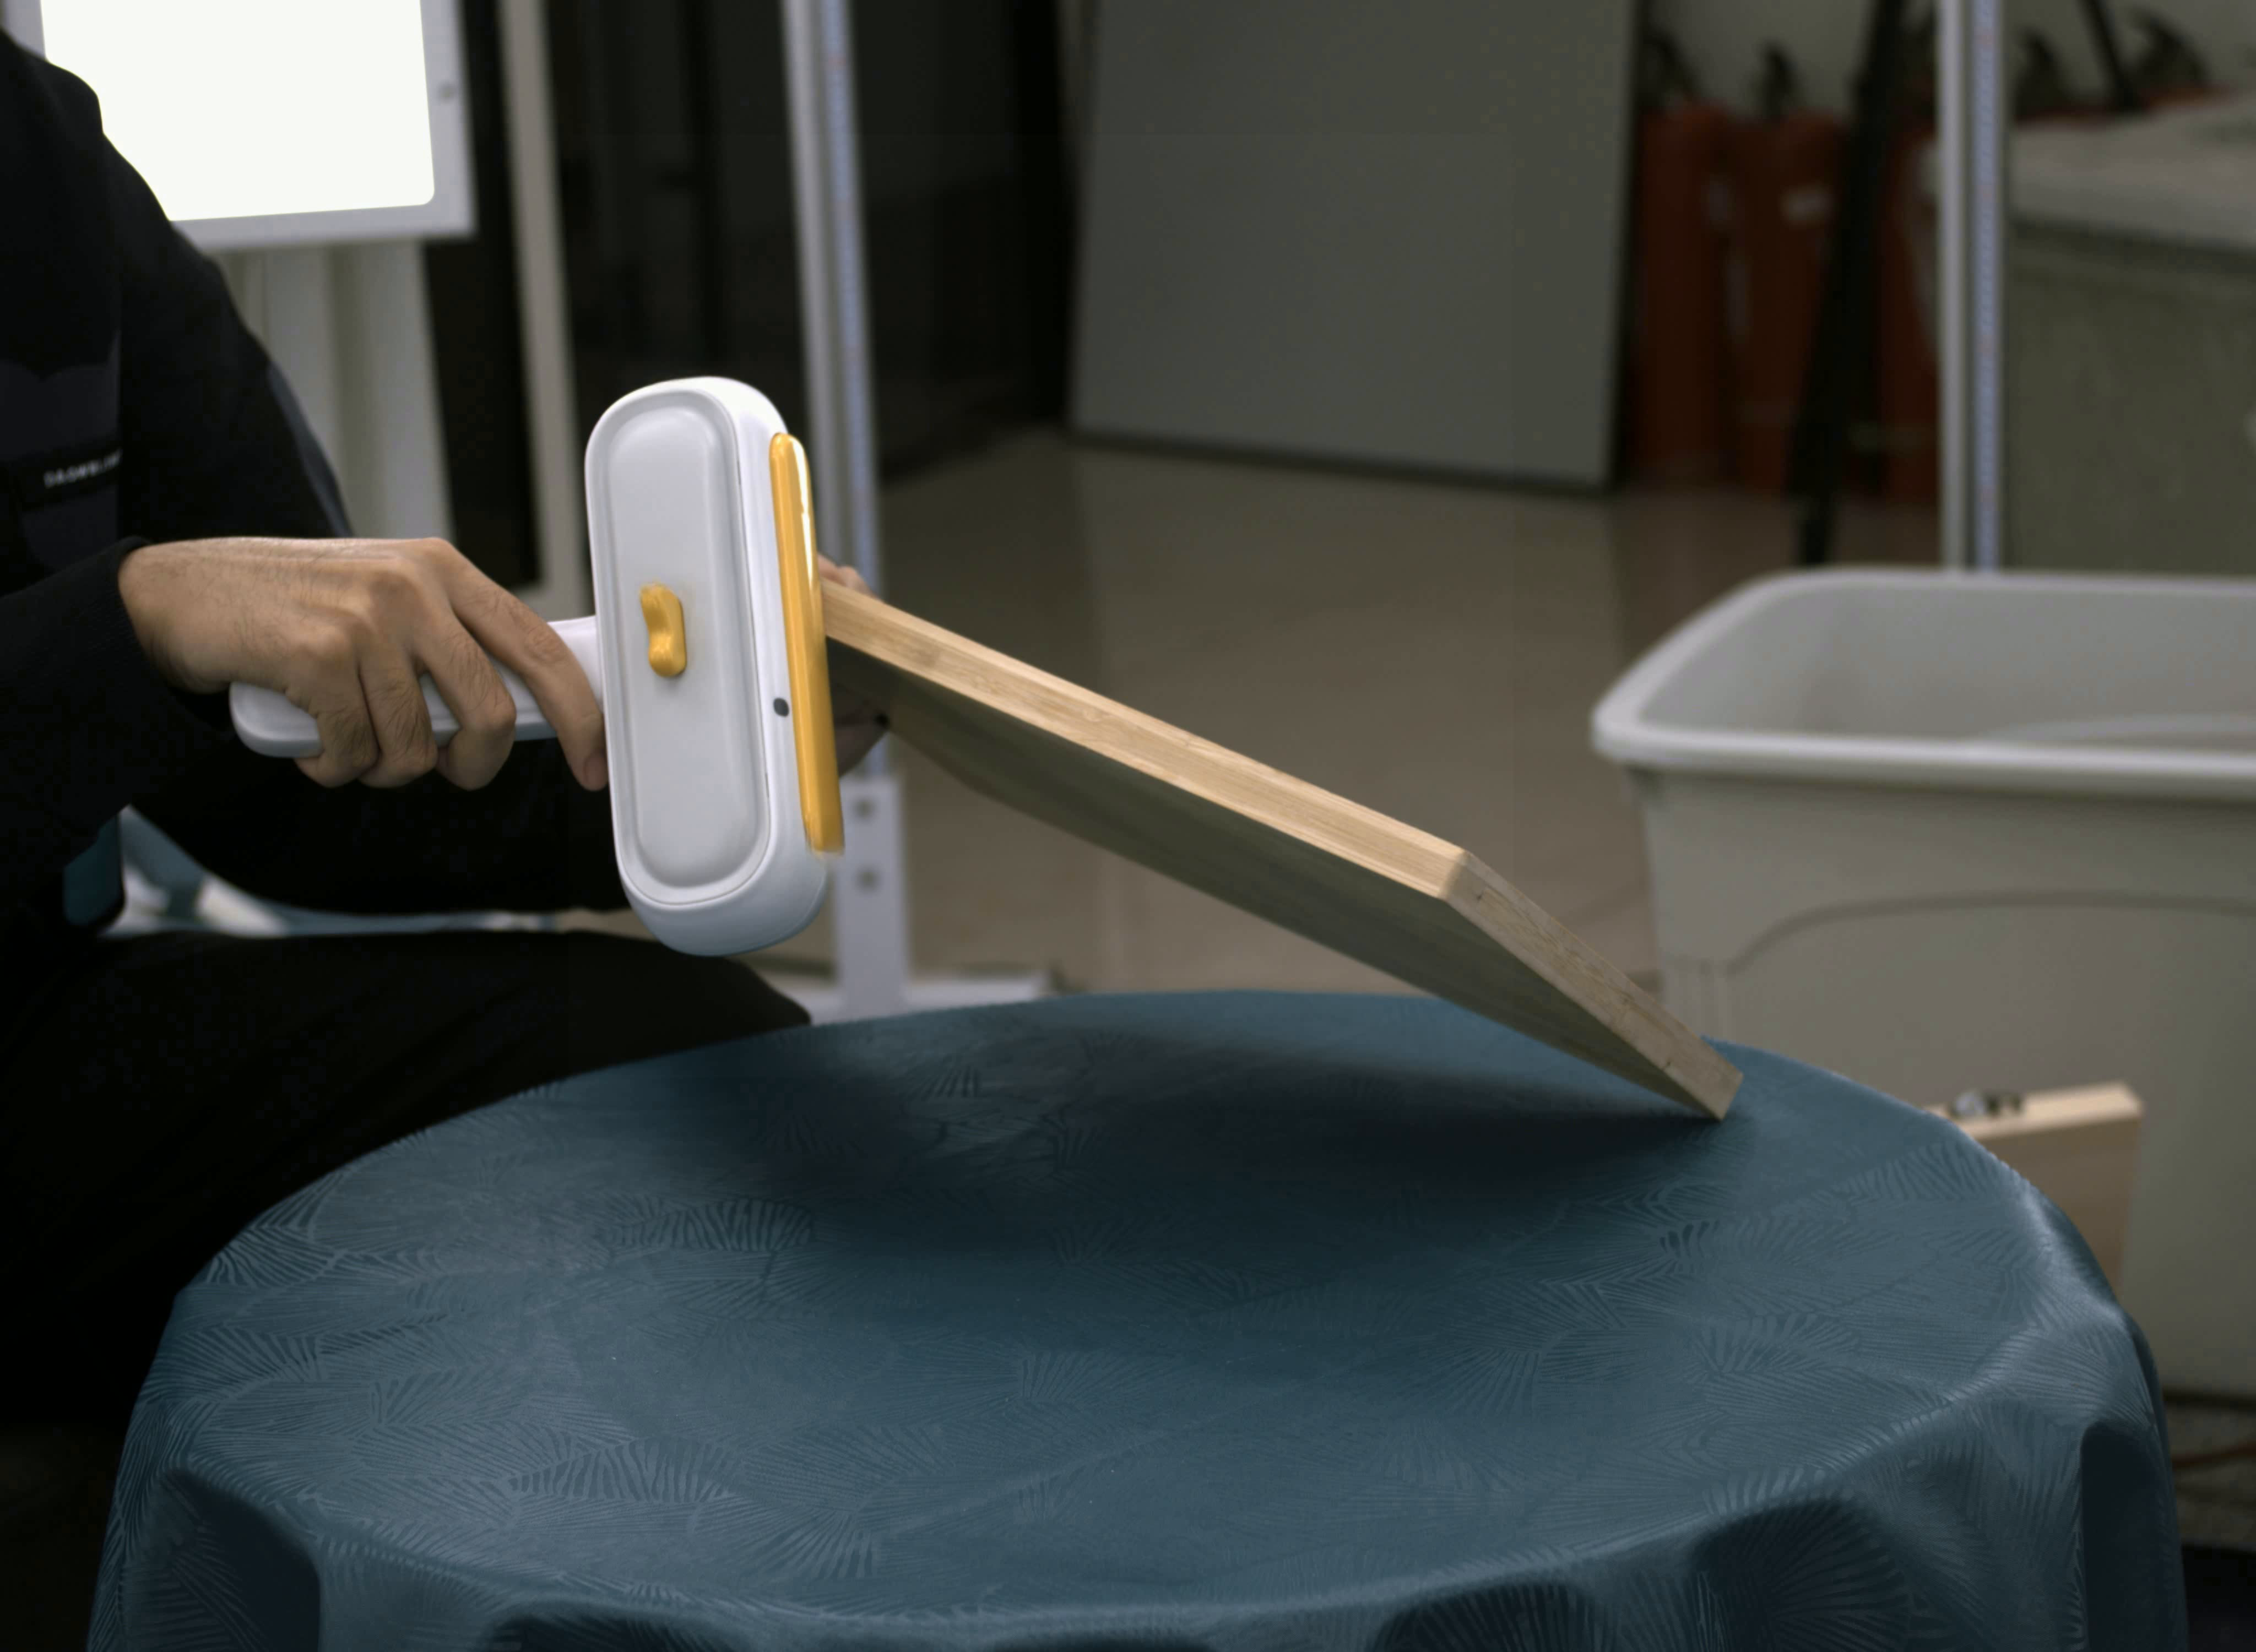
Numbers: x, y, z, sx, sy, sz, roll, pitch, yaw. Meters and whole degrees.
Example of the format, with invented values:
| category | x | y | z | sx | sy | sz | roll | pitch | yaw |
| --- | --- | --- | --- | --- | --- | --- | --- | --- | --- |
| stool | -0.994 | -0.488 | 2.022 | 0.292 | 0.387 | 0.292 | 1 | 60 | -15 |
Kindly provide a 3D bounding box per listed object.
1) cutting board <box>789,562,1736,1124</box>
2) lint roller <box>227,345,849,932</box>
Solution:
| category | x | y | z | sx | sy | sz | roll | pitch | yaw |
| --- | --- | --- | --- | --- | --- | --- | --- | --- | --- |
| cutting board | 0.017 | -0.004 | 1.808 | 0.351 | 0.024 | 0.247 | 24 | -8 | 34 |
| lint roller | -0.194 | -0.050 | 1.748 | 0.191 | 0.195 | 0.073 | -13 | -14 | 9 |
